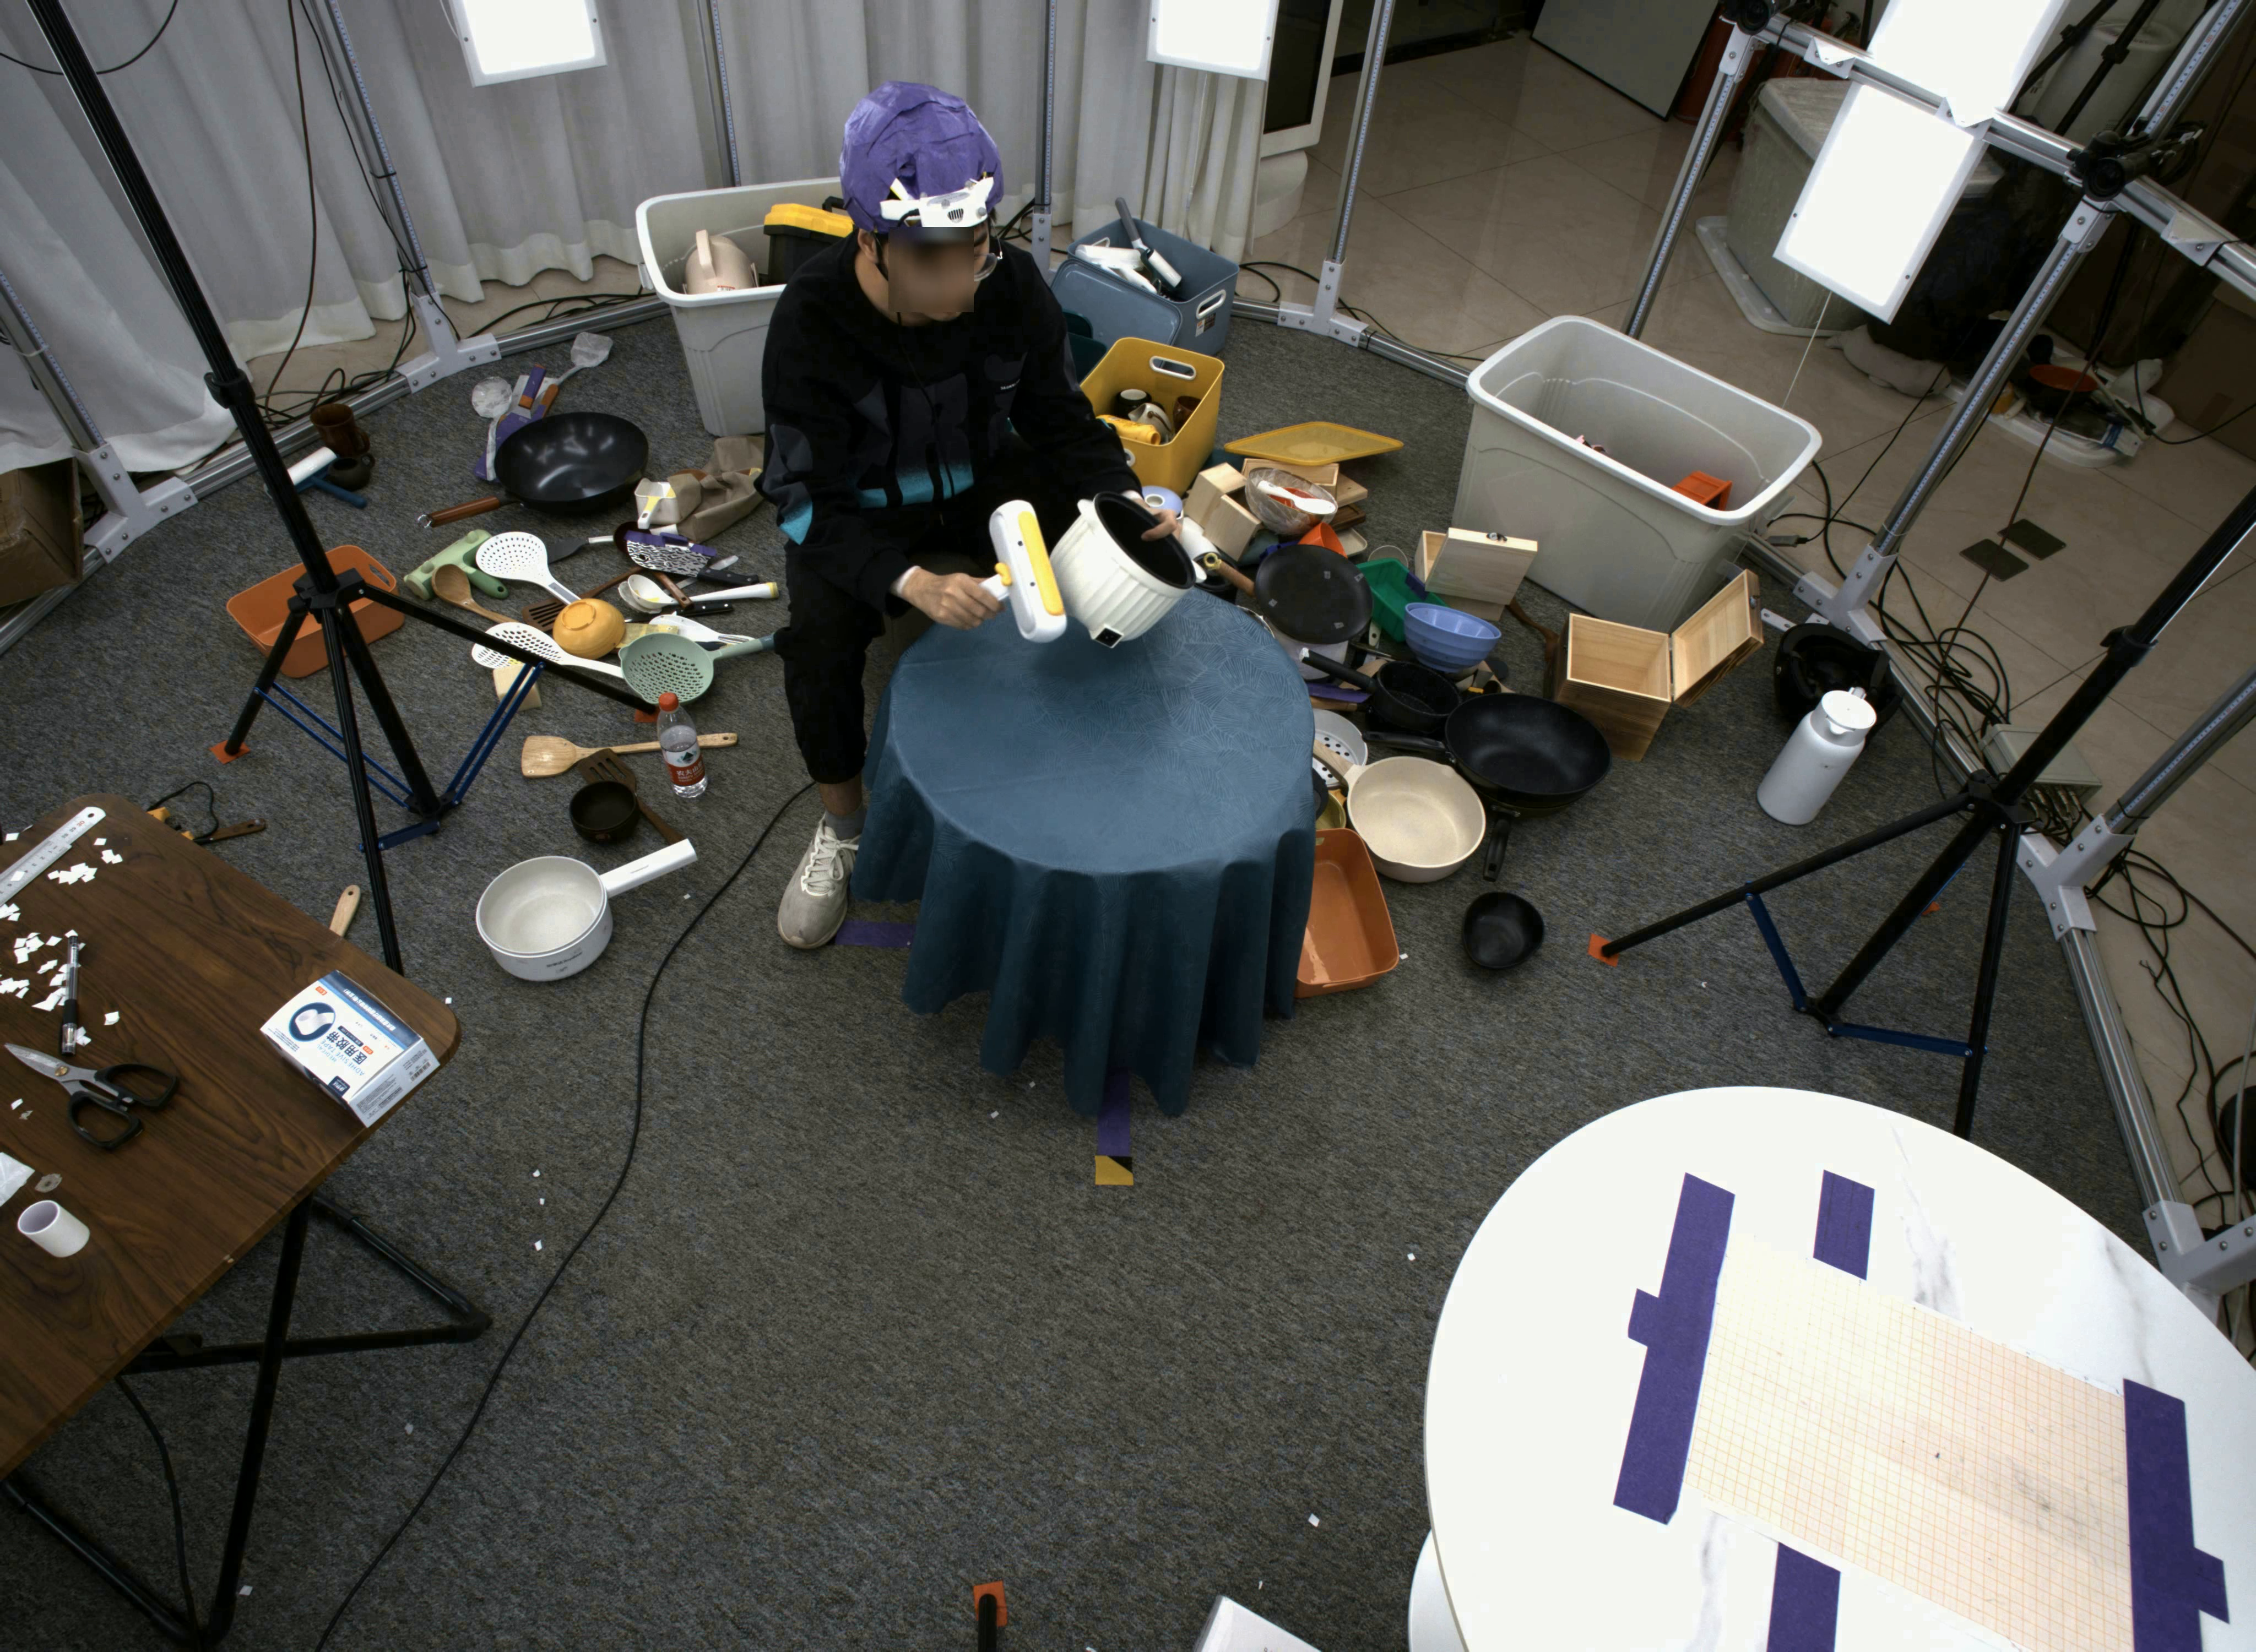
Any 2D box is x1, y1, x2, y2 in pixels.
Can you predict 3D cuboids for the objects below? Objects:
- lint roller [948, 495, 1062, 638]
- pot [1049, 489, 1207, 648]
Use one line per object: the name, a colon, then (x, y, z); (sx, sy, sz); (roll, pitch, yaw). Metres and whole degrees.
lint roller: (-0.177, -0.325, 1.751); (0.074, 0.191, 0.194); (-18, 83, -38)
pot: (-0.017, -0.361, 1.803); (0.237, 0.141, 0.195); (21, 39, -39)
